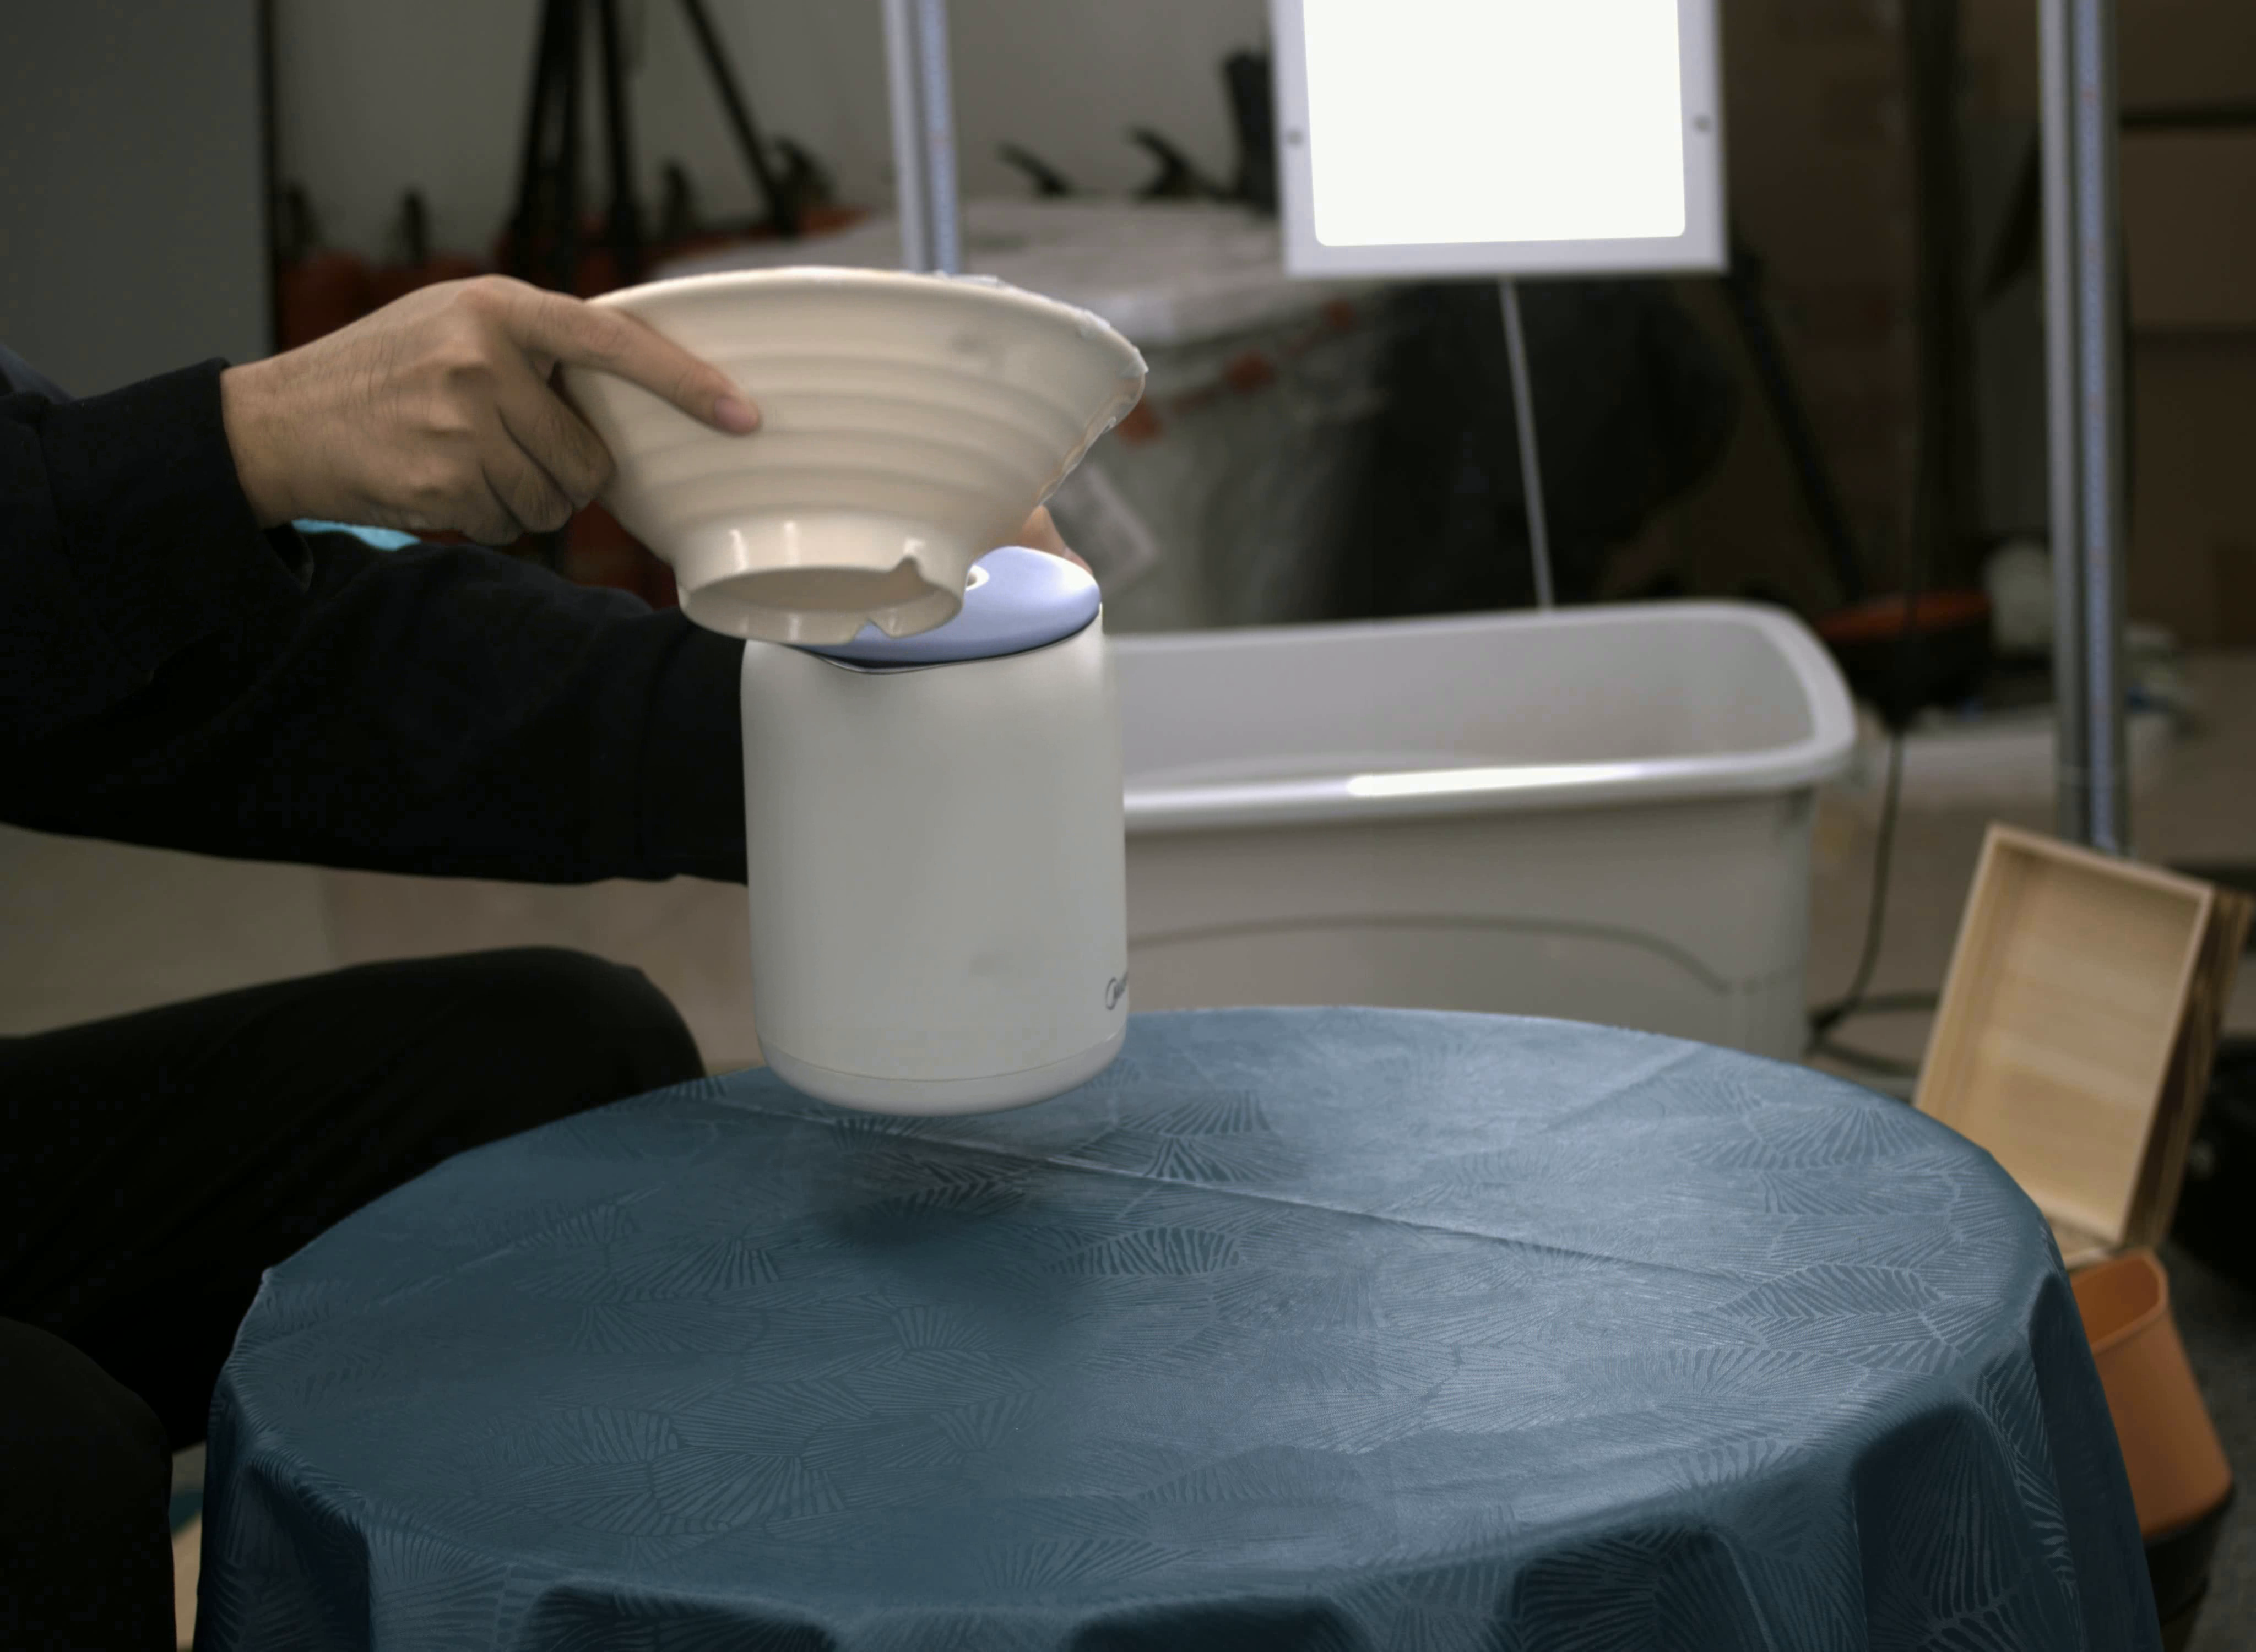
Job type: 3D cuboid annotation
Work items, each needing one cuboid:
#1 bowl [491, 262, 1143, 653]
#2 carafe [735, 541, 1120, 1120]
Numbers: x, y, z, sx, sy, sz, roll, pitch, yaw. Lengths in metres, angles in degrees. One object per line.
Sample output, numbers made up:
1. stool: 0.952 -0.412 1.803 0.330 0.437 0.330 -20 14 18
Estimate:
1. bowl: -0.094 -0.103 1.704 0.203 0.078 0.204 -3 -15 -2
2. carafe: -0.063 -0.007 1.918 0.133 0.183 0.188 5 19 13
